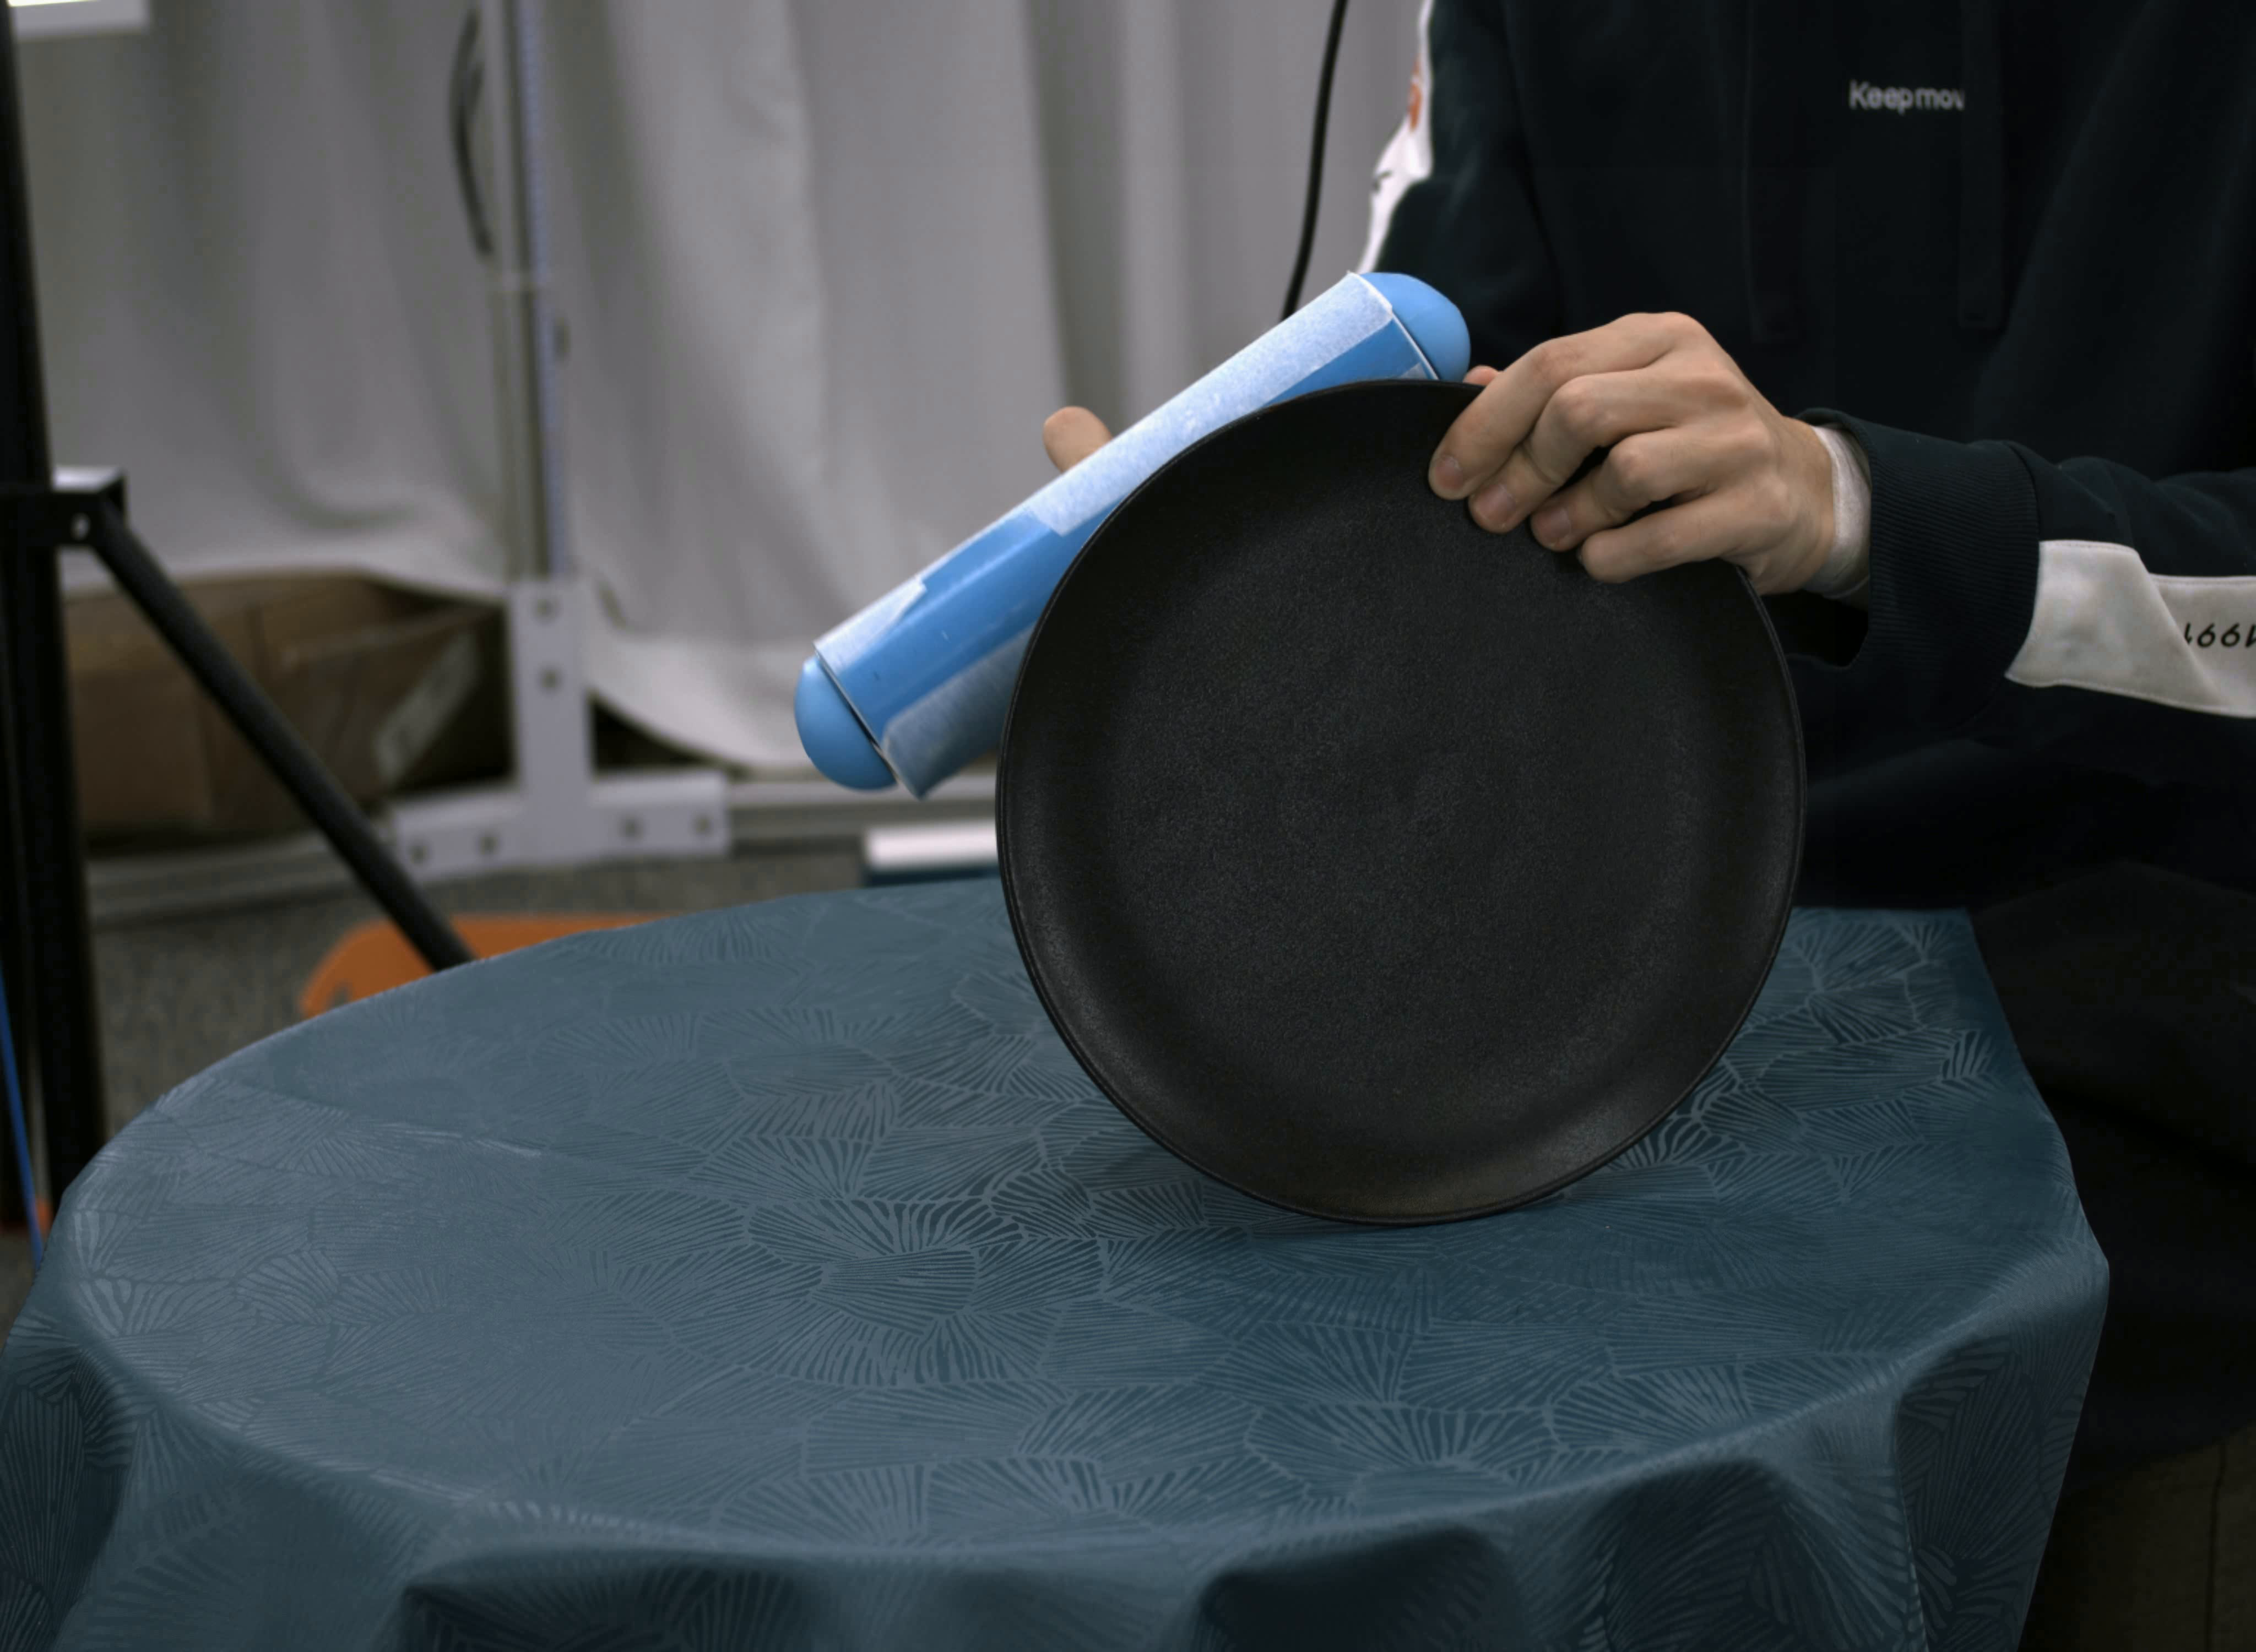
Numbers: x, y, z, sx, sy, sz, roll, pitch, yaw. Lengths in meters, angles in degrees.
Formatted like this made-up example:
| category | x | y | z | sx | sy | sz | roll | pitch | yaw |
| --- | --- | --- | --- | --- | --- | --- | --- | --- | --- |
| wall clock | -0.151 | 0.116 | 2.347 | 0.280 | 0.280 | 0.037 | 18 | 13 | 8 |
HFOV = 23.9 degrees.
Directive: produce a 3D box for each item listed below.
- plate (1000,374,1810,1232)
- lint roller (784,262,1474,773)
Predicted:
| category | x | y | z | sx | sy | sz | roll | pitch | yaw |
| --- | --- | --- | --- | --- | --- | --- | --- | --- | --- |
| plate | 0.079 | -0.006 | 1.522 | 0.241 | 0.245 | 0.023 | -6 | 3 | -13 |
| lint roller | 0.005 | -0.073 | 1.595 | 0.228 | 0.069 | 0.178 | -33 | -17 | -4 |
